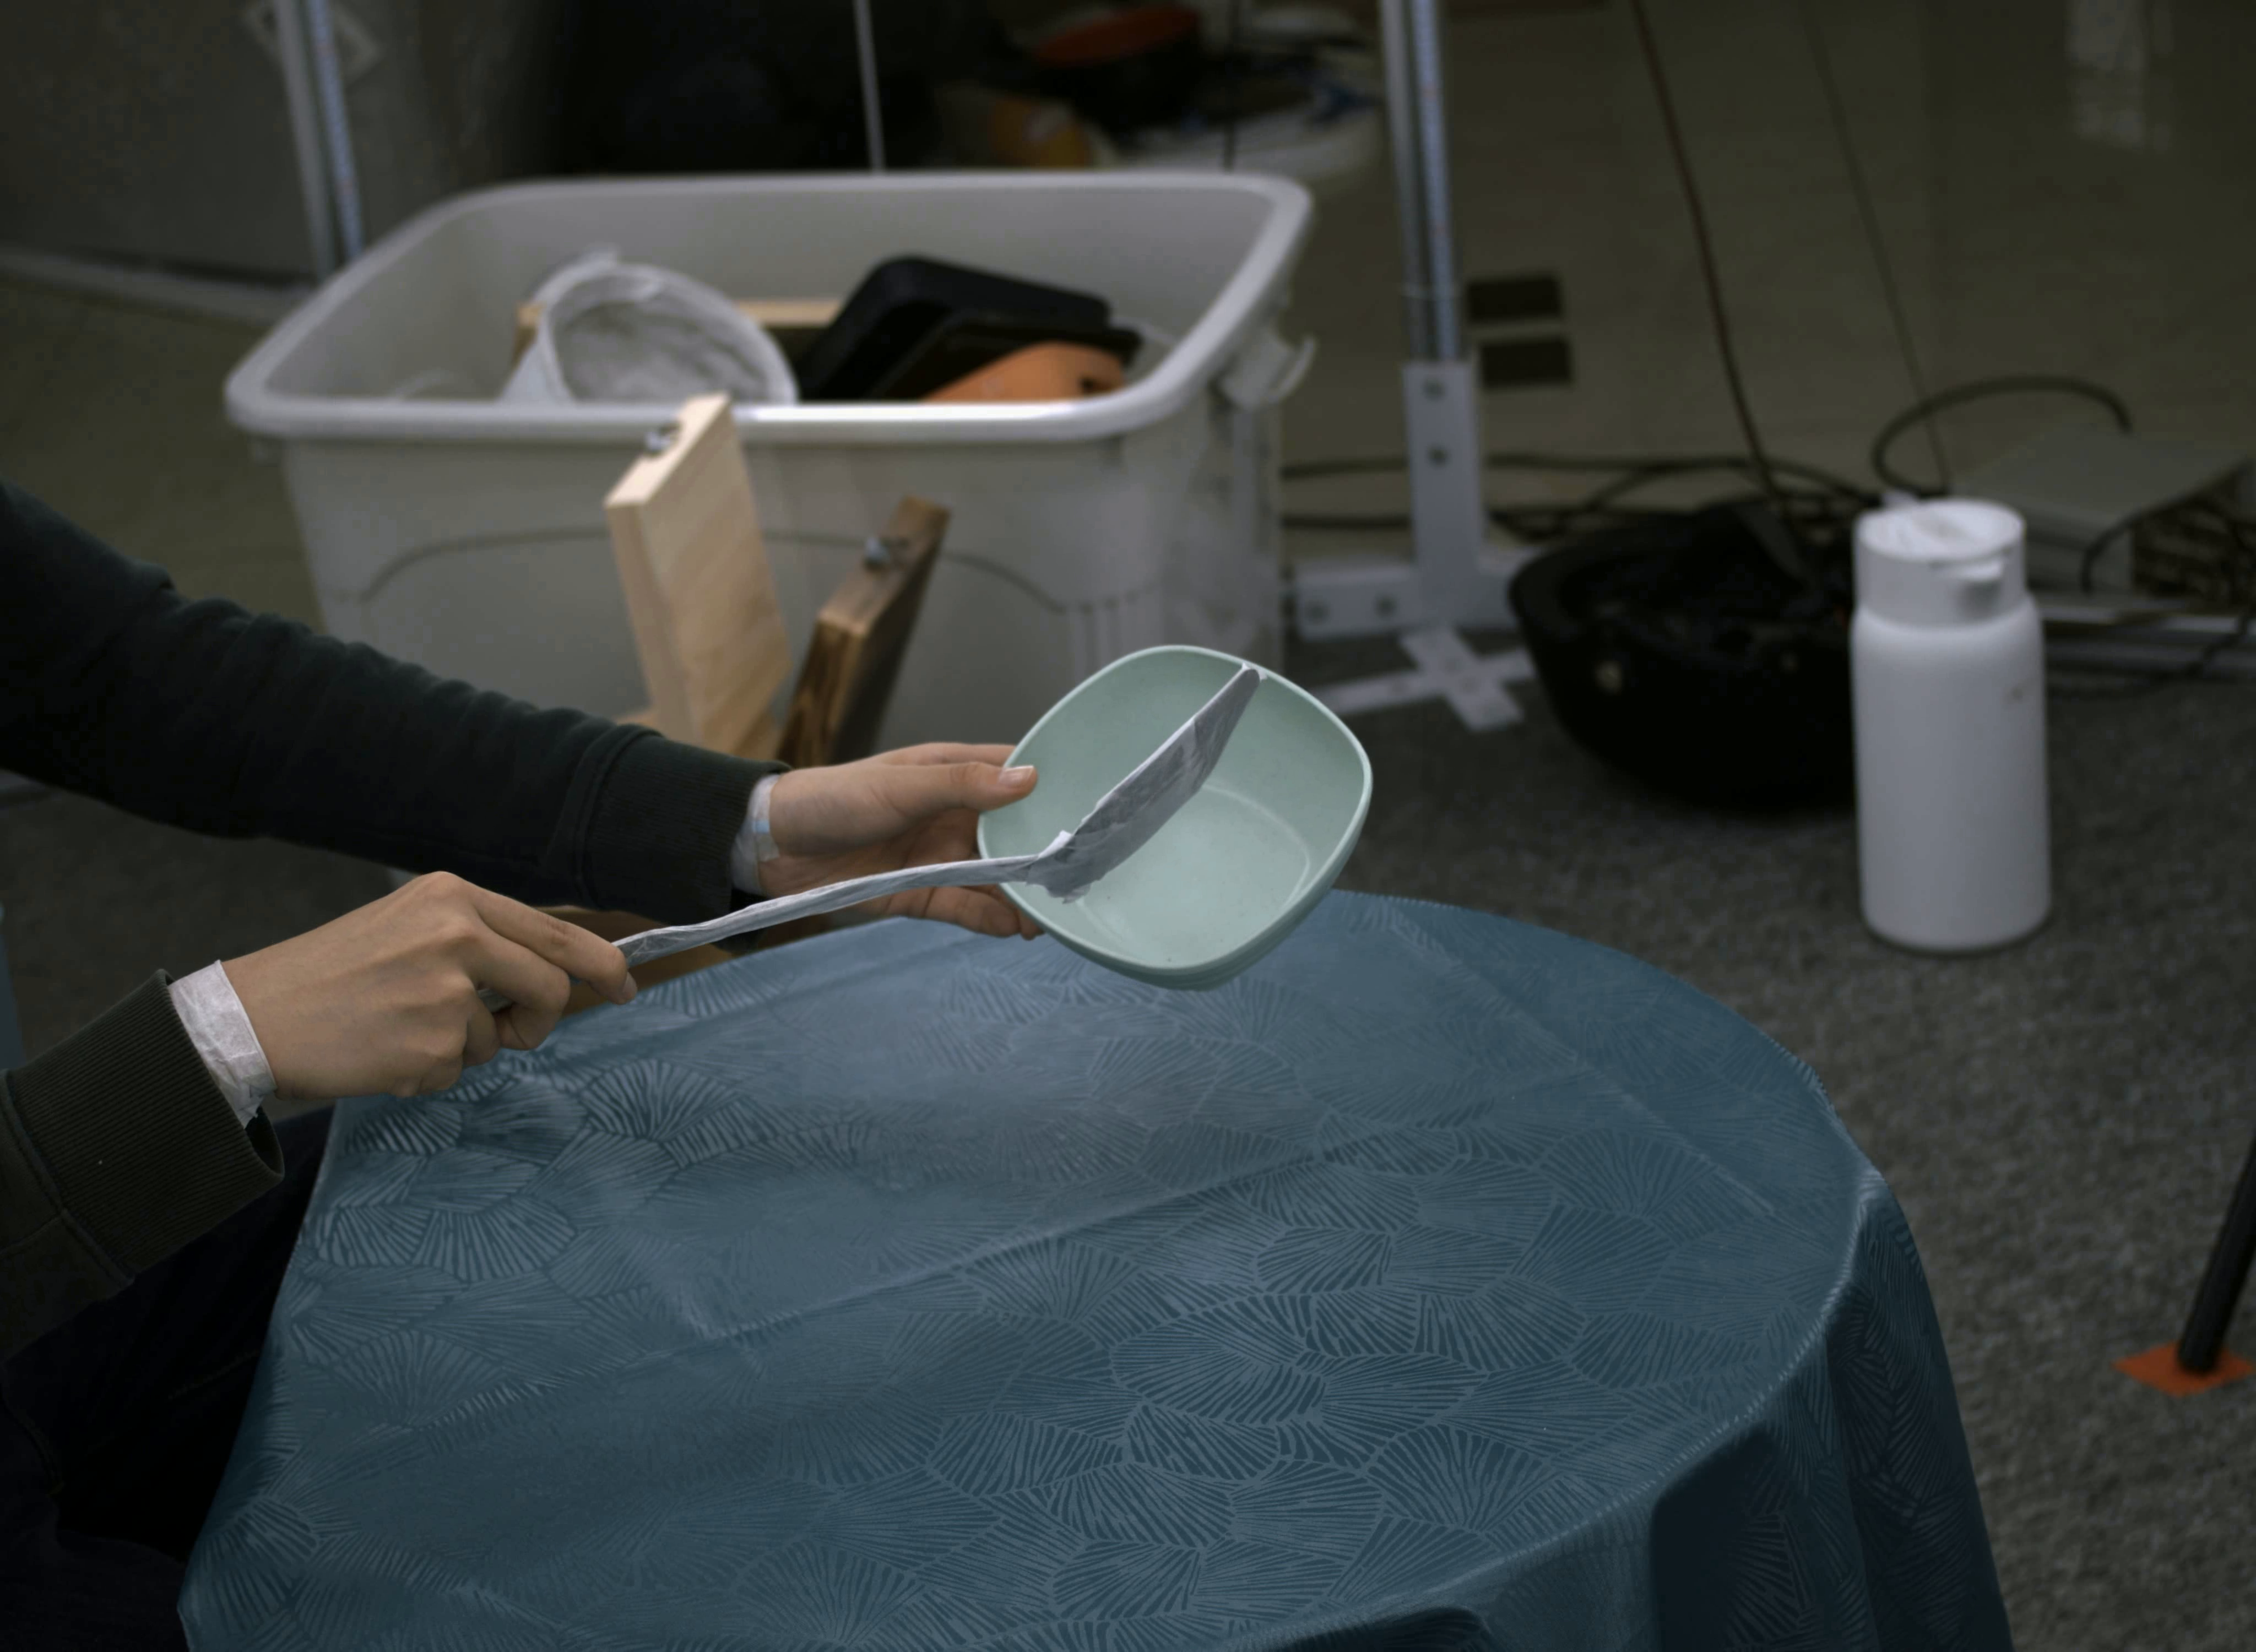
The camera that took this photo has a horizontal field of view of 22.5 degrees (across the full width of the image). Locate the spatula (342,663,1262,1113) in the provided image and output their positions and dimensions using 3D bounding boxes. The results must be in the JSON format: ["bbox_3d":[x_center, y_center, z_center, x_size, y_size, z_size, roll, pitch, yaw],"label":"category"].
[{"bbox_3d":[-0.109,0.025,1.972,0.363,0.100,0.044,-17,70,-21],"label":"spatula"}]

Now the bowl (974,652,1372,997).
[{"bbox_3d":[0.020,0.010,2.156,0.151,0.060,0.149,-4,54,6],"label":"bowl"}]
